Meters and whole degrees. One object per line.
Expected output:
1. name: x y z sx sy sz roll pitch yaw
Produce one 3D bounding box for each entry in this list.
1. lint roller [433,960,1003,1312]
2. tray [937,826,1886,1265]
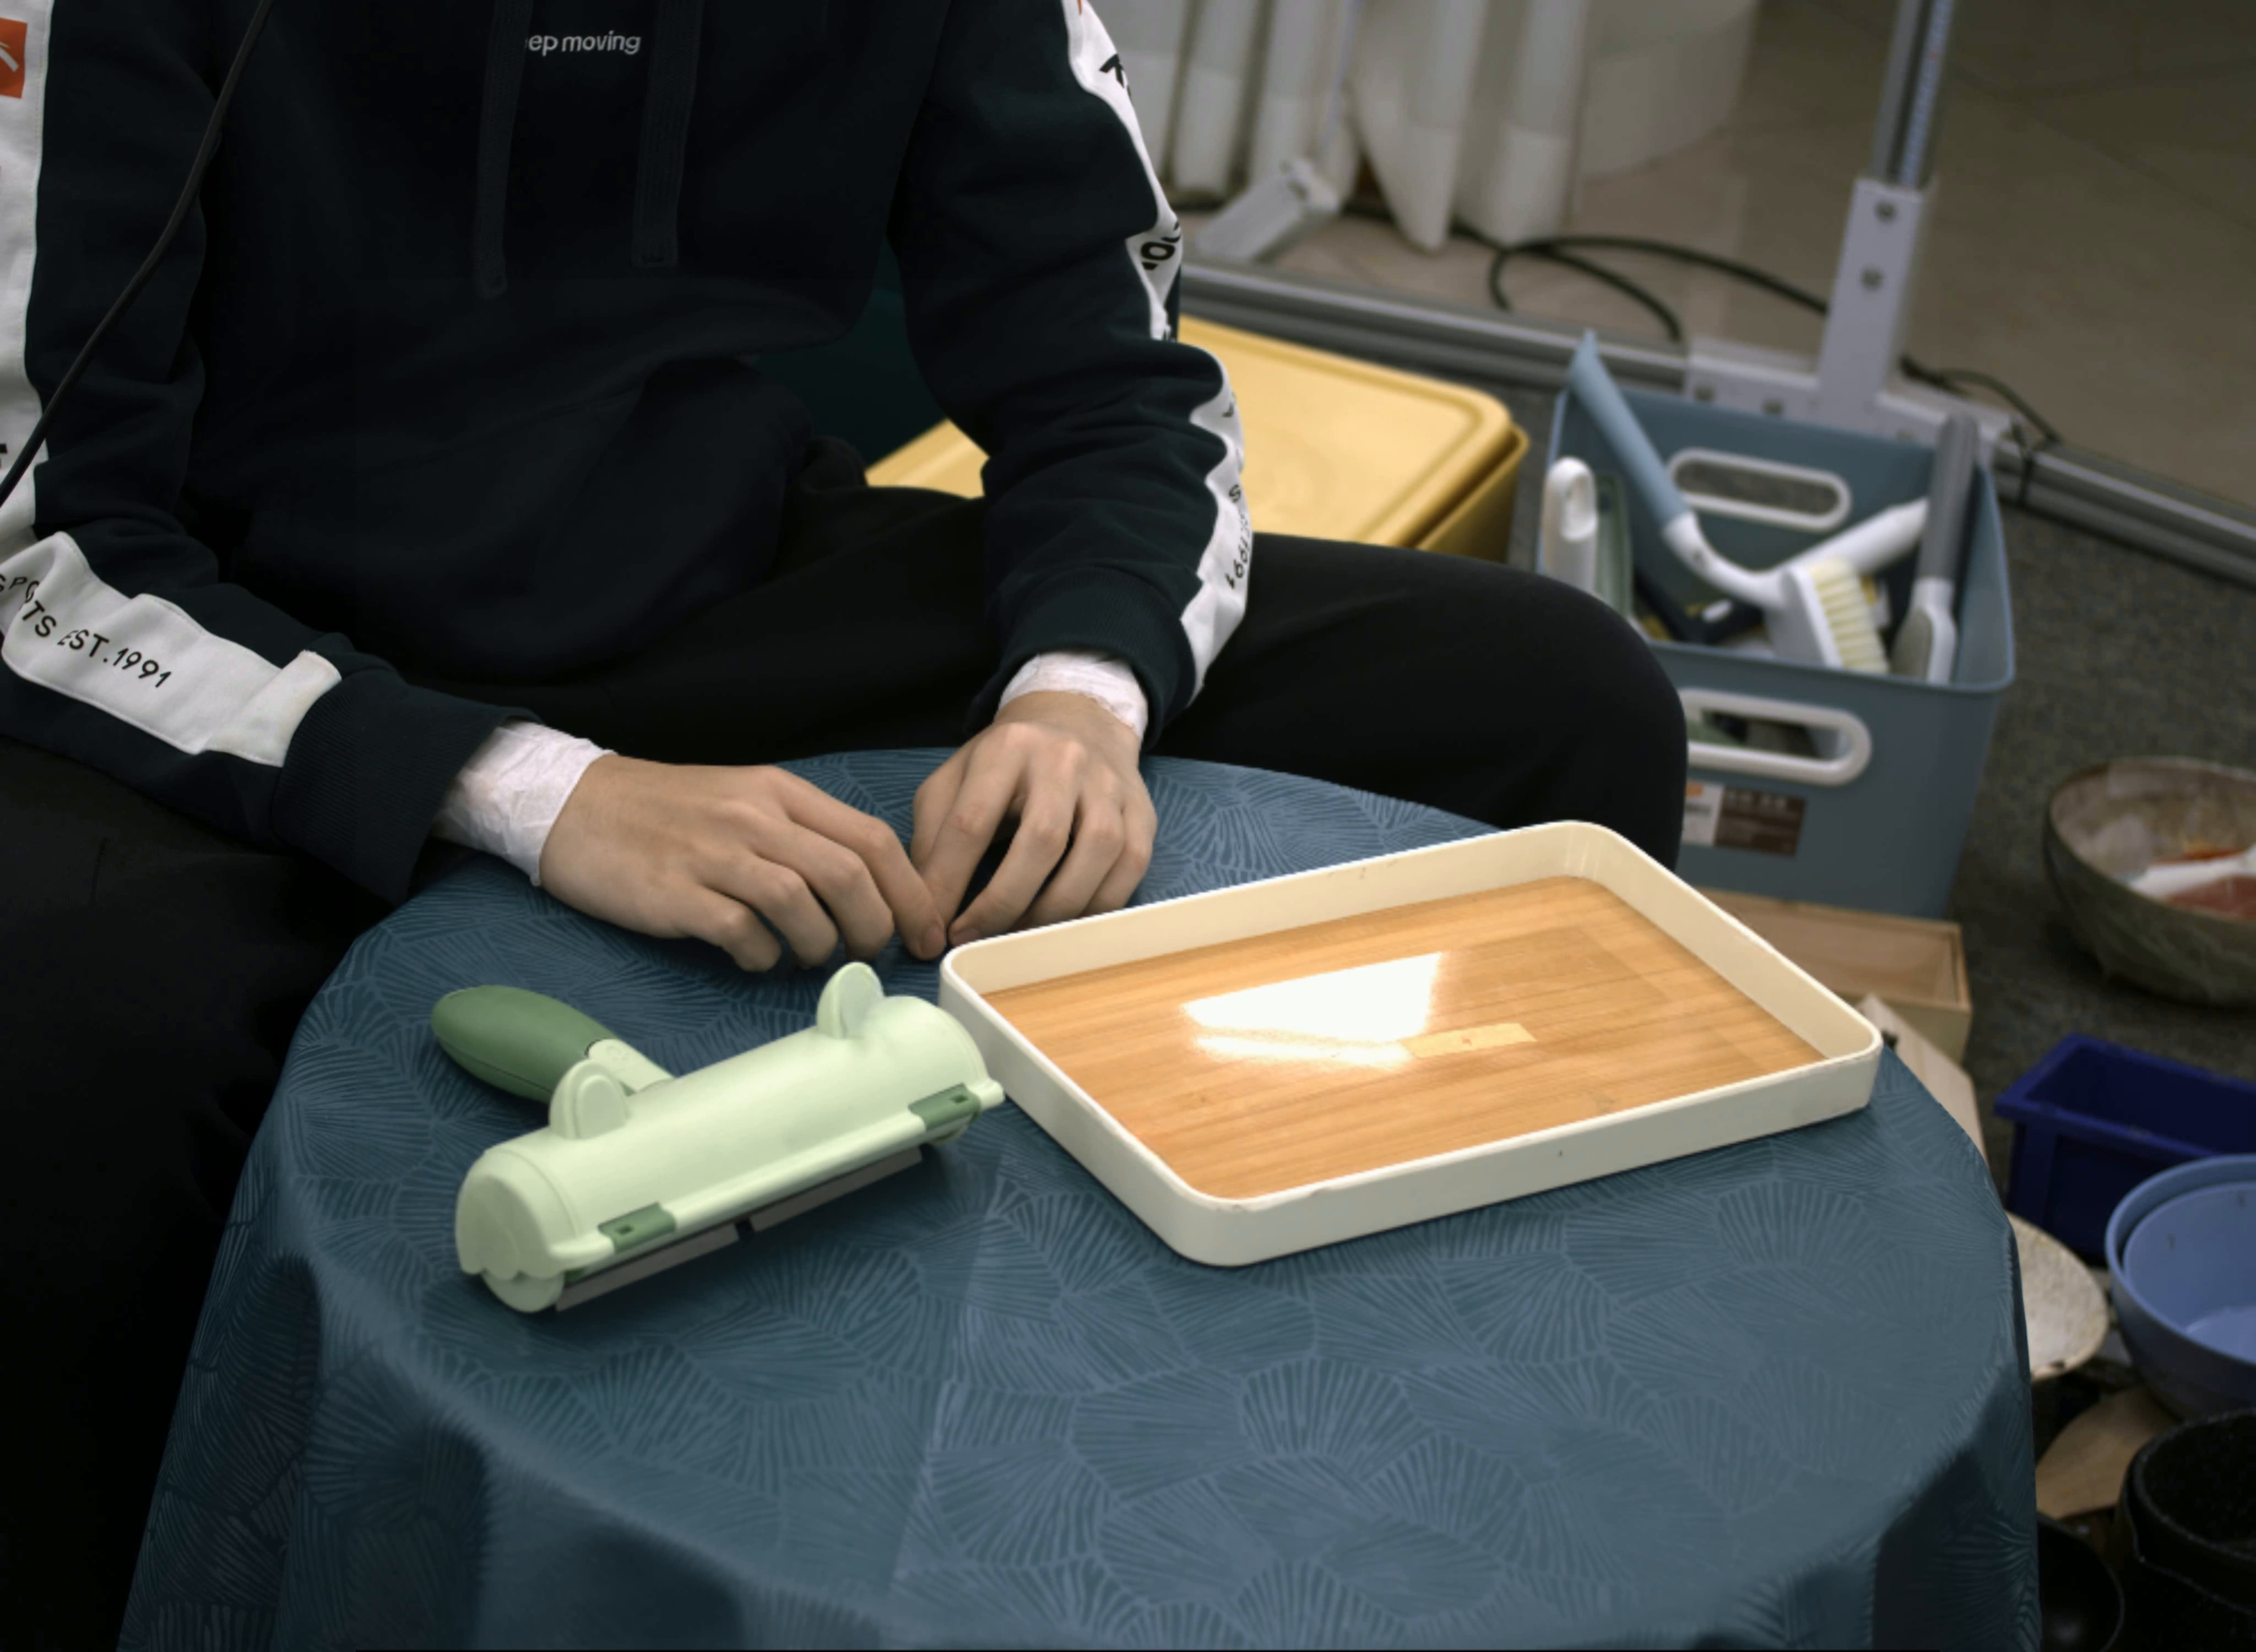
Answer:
1. lint roller: -0.169 0.075 1.773 0.197 0.082 0.185 -20 41 -41
2. tray: 0.101 0.073 1.891 0.298 0.027 0.193 -11 31 -30
